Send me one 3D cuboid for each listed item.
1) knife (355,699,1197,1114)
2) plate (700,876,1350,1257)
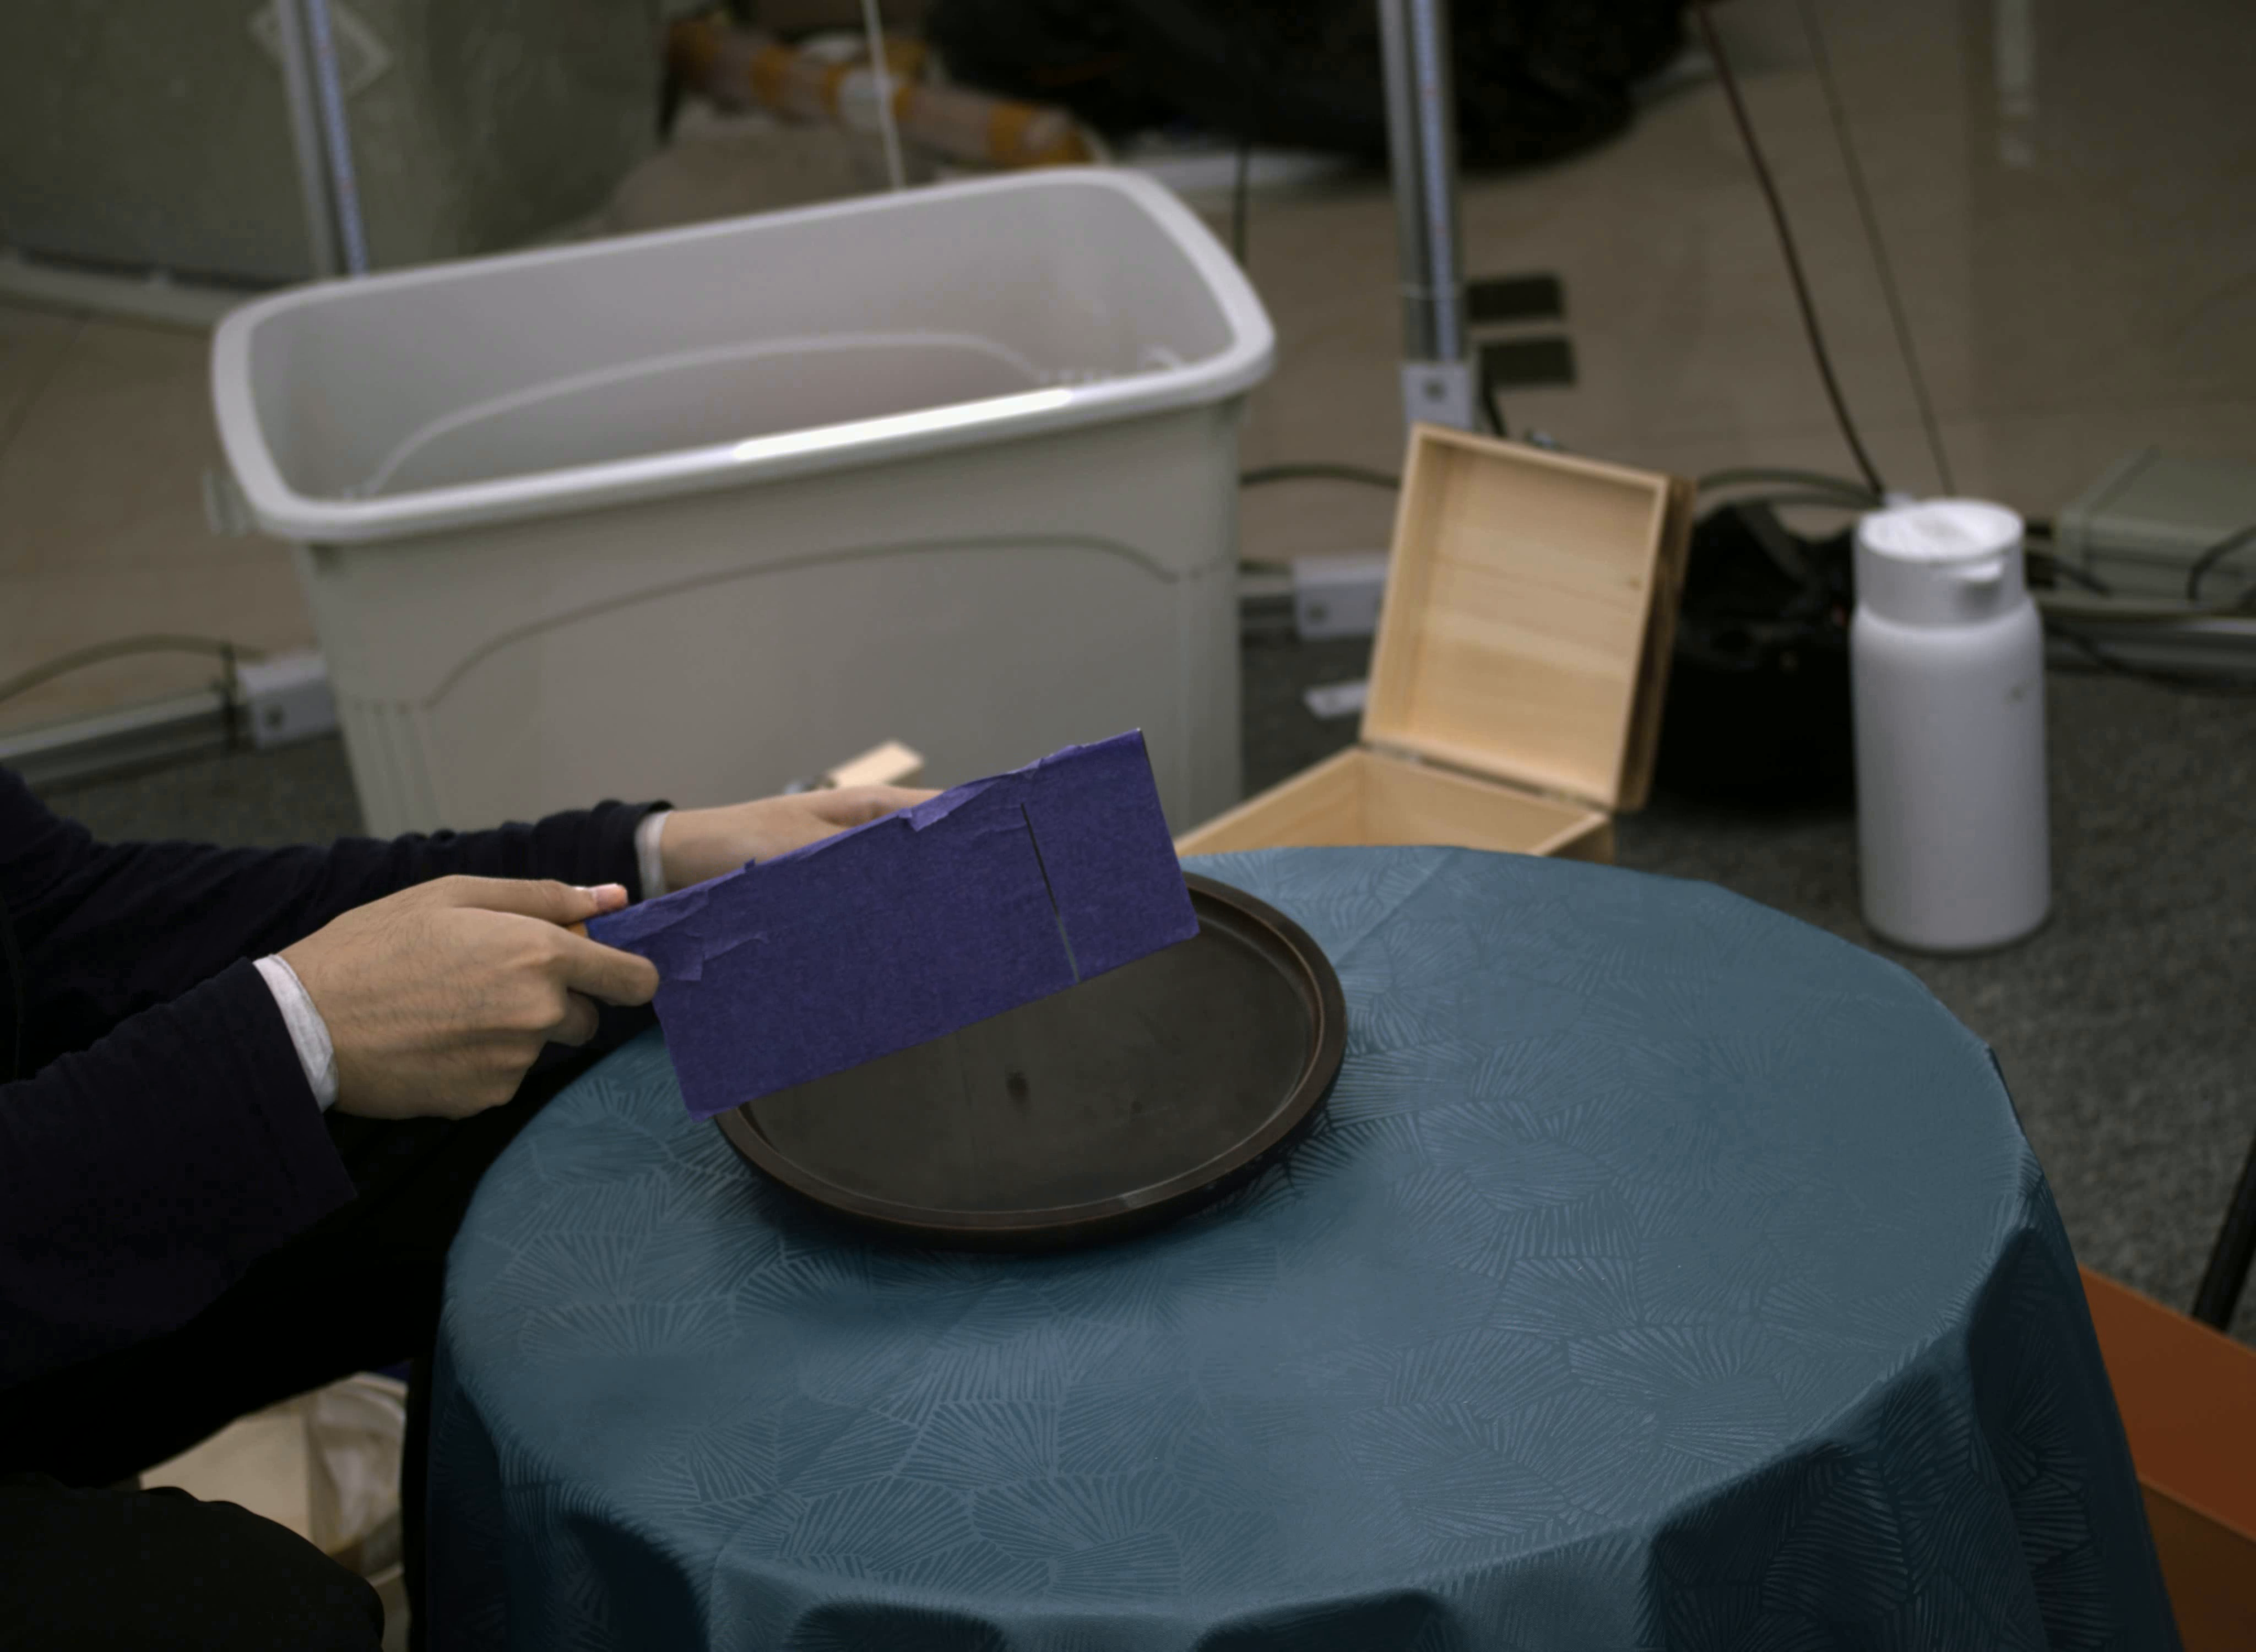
[{"bbox_3d":[-0.124,0.052,2.095,0.314,0.105,0.032,-20,22,-9],"label":"knife"},{"bbox_3d":[-0.040,0.089,2.202,0.254,0.029,0.250,-3,34,2],"label":"plate"}]
